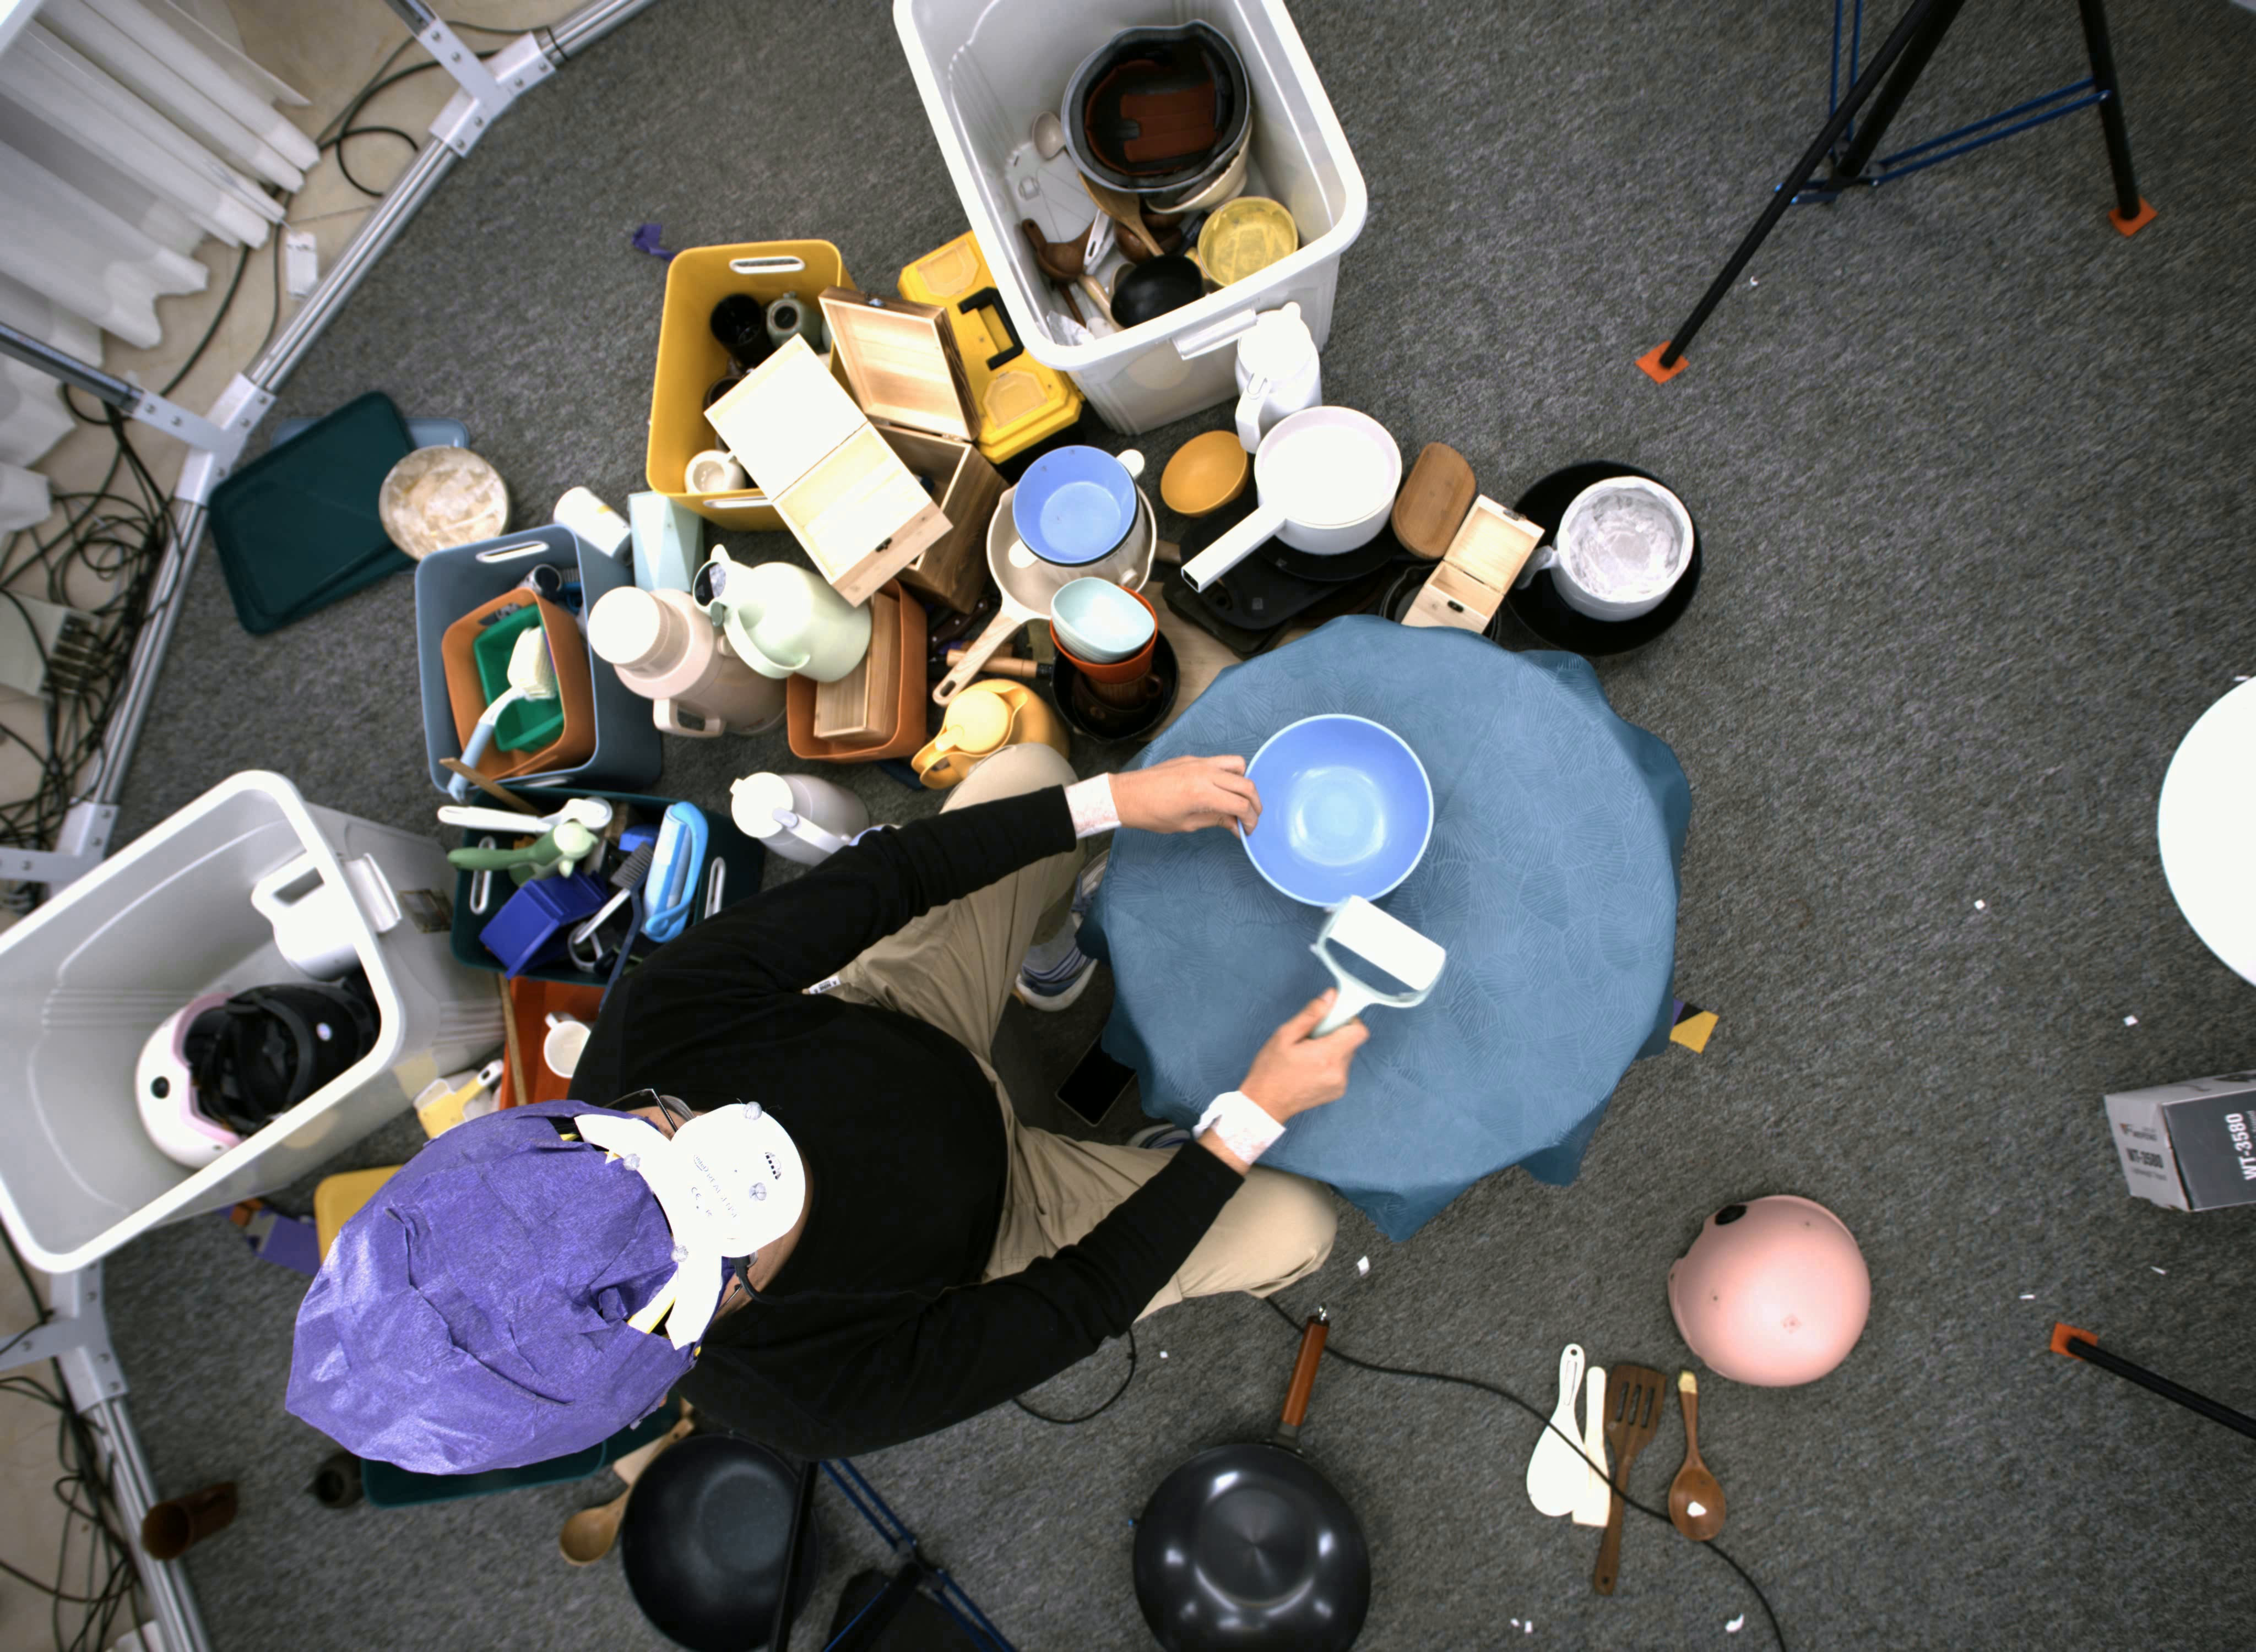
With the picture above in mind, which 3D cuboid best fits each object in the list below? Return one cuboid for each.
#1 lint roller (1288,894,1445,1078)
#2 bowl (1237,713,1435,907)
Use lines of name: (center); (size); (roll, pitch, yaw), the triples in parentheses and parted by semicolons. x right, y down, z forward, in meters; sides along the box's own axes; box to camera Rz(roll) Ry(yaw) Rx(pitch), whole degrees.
lint roller: (0.211, 0.169, 1.352); (0.117, 0.048, 0.200); (32, 107, -1)
bowl: (0.214, -0.013, 1.426); (0.197, 0.095, 0.196); (-1, 87, 10)
